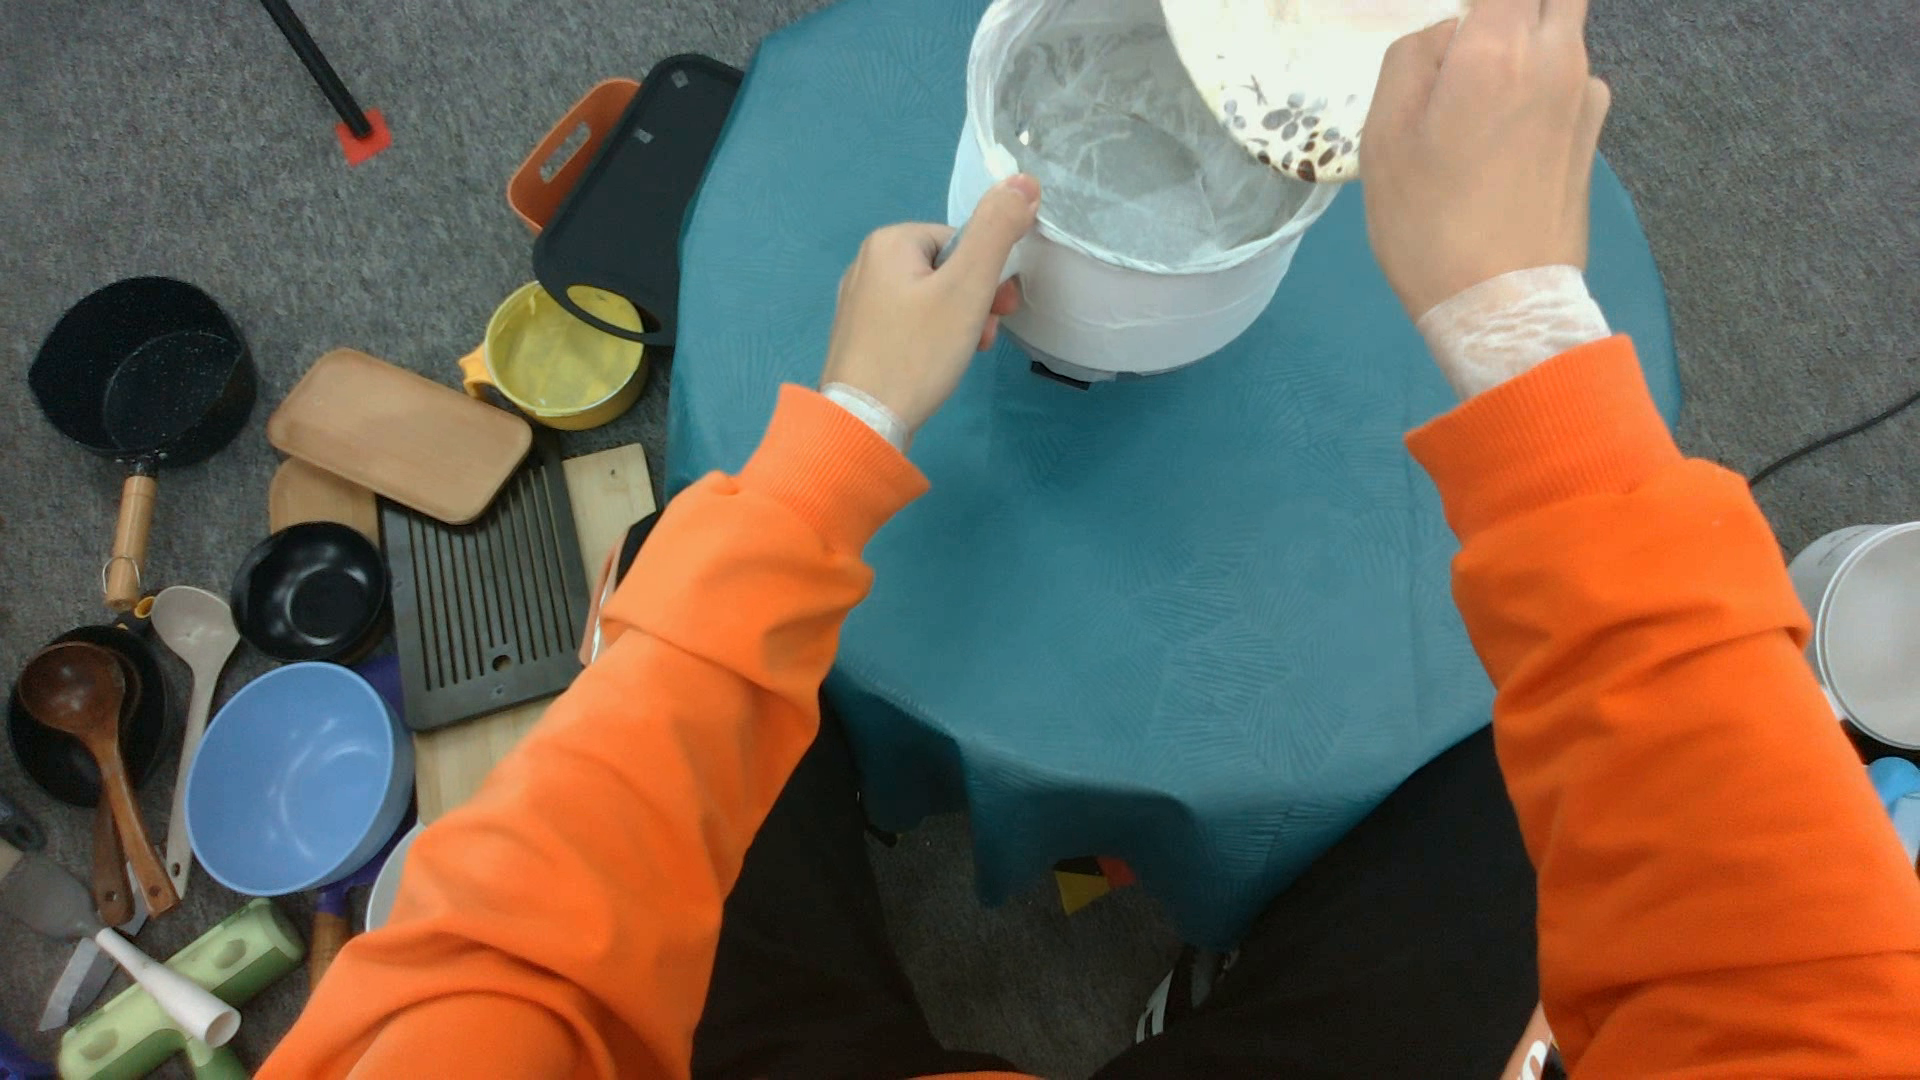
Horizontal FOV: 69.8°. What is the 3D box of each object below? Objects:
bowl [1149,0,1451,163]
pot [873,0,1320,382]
[{"bbox_3d":[0.150,-0.262,0.550,0.078,0.203,0.204,-25,73,-17],"label":"bowl"},{"bbox_3d":[0.056,-0.169,0.672,0.234,0.136,0.179,-41,80,-17],"label":"pot"}]
